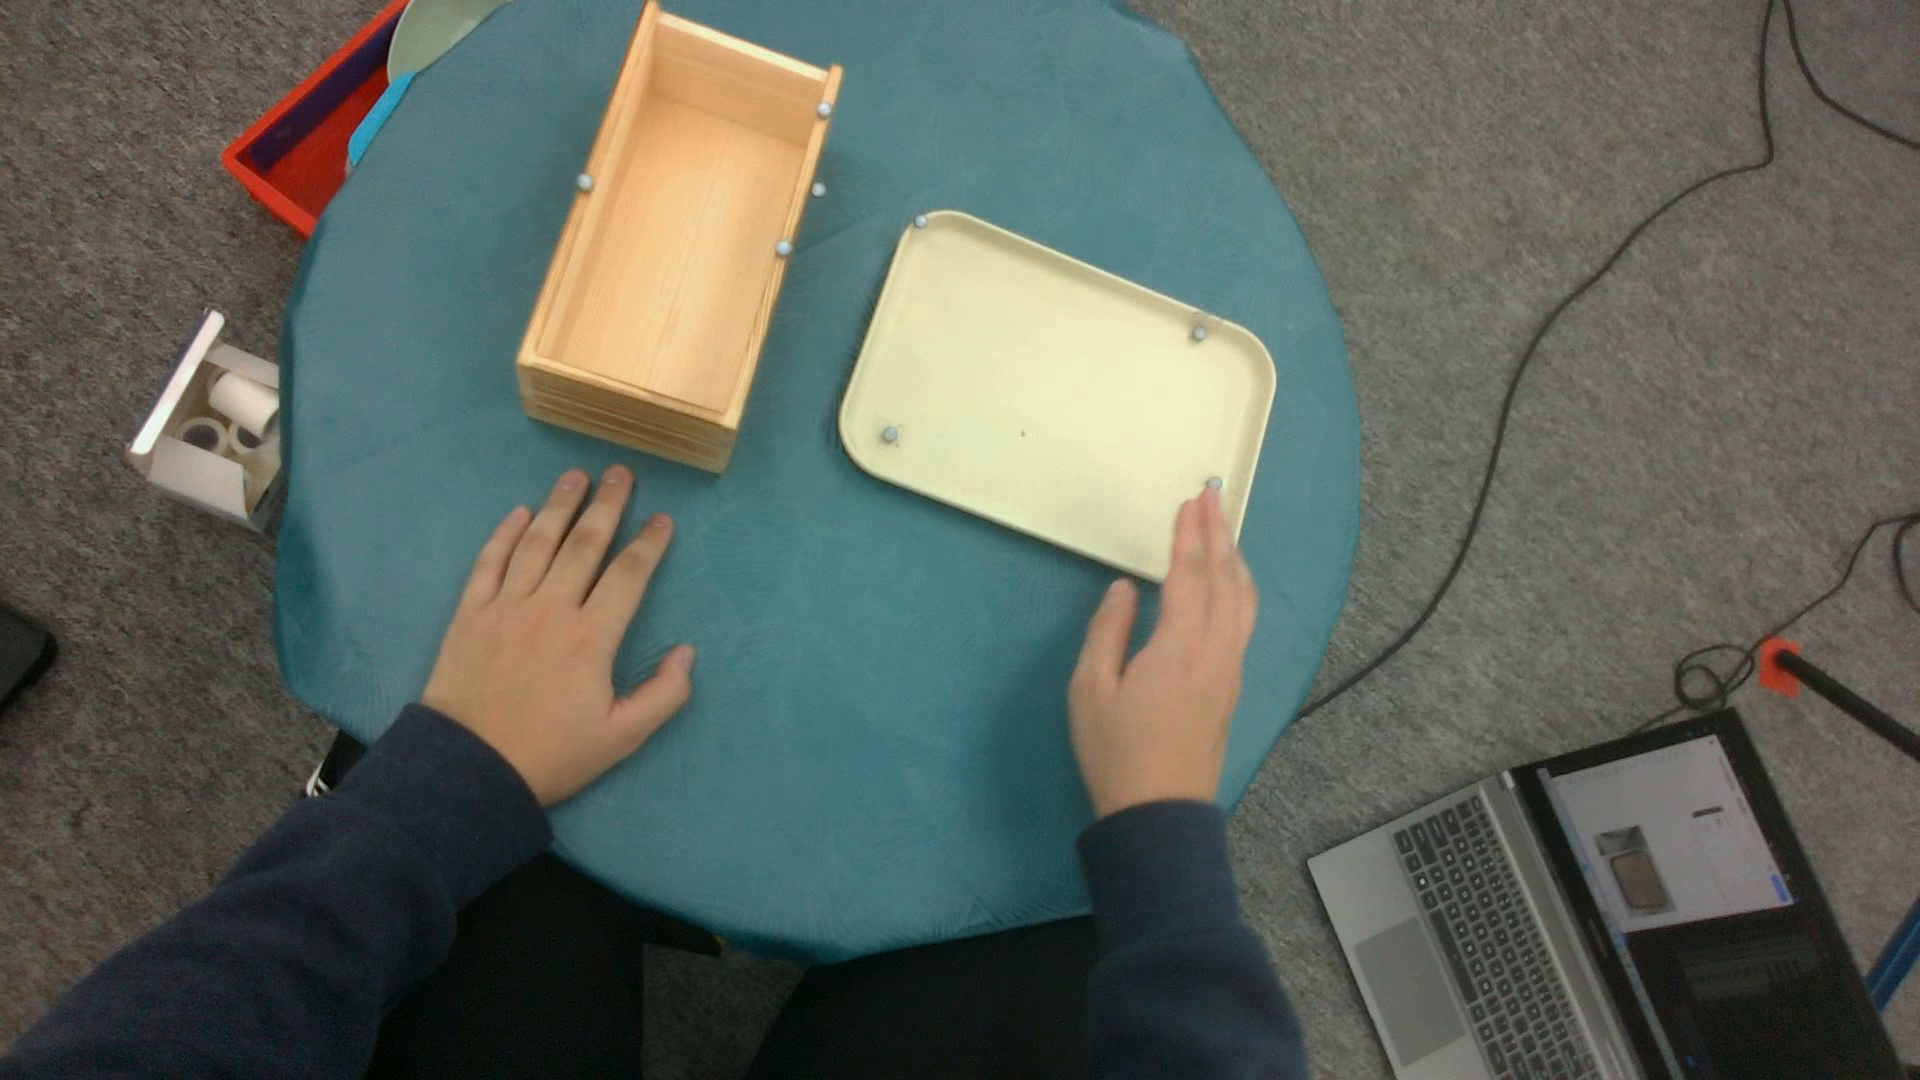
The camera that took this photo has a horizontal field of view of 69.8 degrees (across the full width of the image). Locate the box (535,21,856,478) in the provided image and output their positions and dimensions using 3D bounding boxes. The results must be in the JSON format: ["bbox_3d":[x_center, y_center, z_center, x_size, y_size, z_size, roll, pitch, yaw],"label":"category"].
[{"bbox_3d":[-0.139,-0.154,0.738,0.107,0.080,0.212,17,72,-9],"label":"box"}]

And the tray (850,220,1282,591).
[{"bbox_3d":[0.065,-0.078,0.801,0.240,0.017,0.172,20,72,-8],"label":"tray"}]
